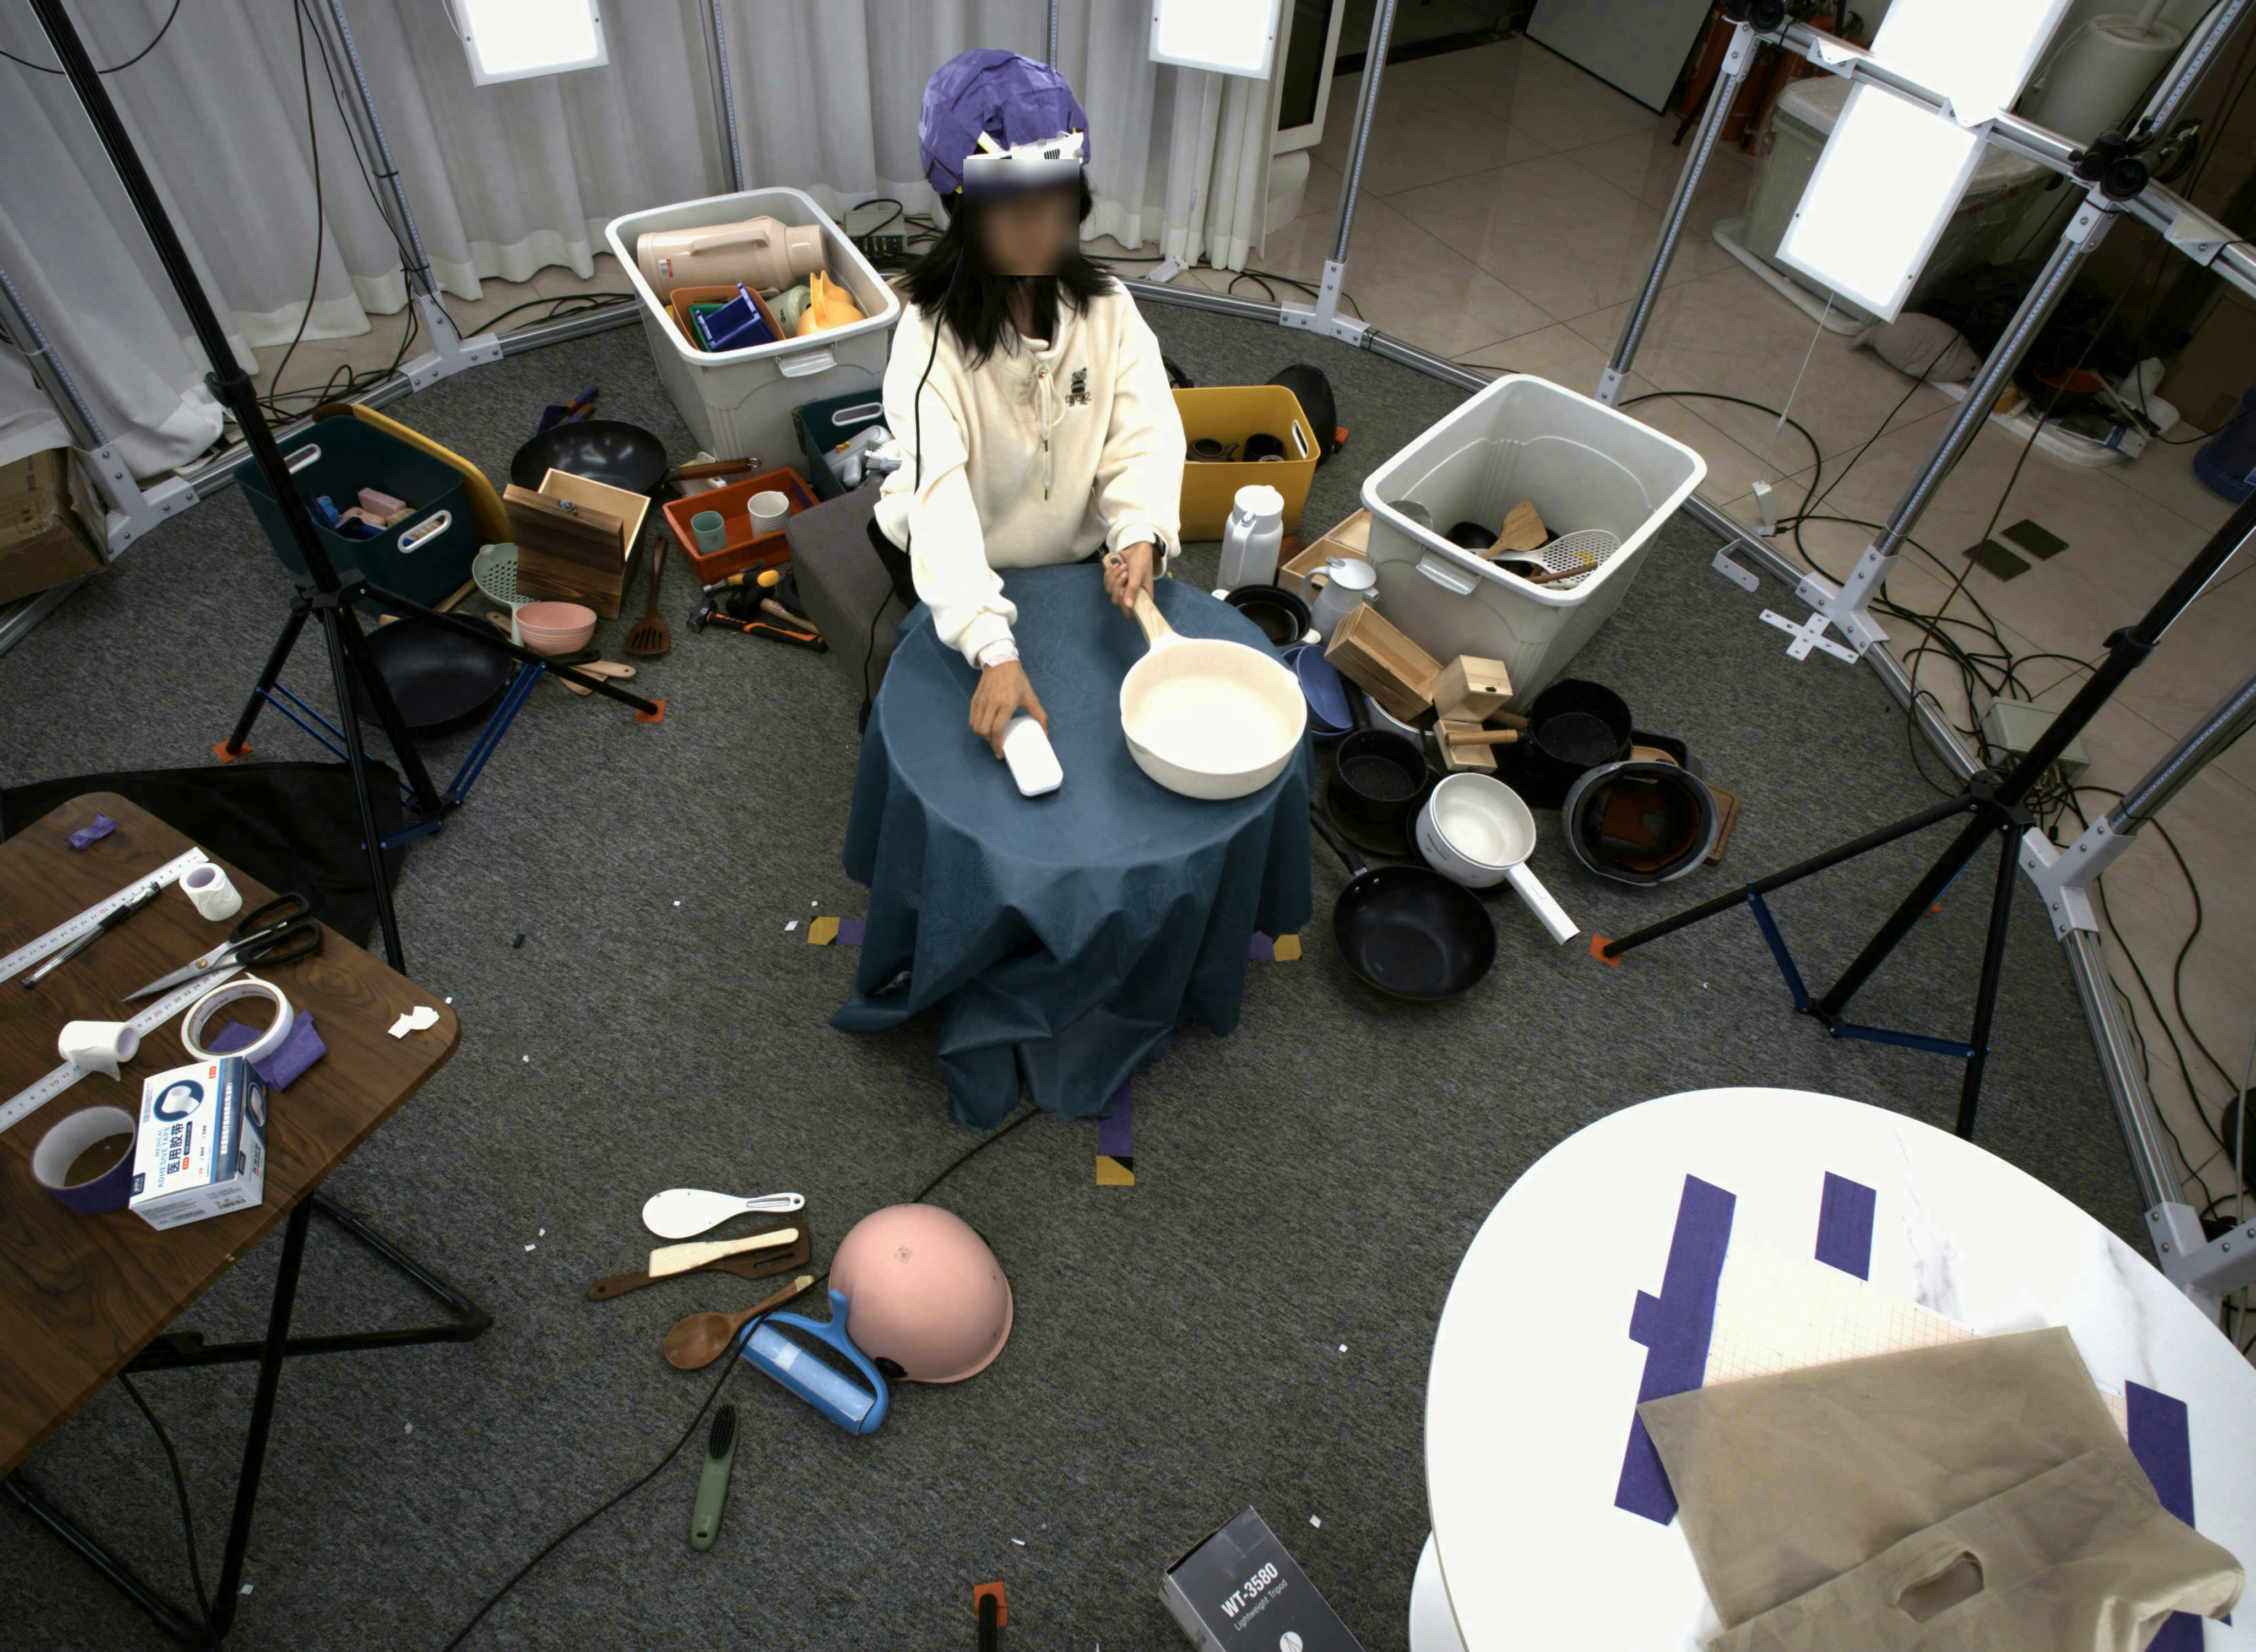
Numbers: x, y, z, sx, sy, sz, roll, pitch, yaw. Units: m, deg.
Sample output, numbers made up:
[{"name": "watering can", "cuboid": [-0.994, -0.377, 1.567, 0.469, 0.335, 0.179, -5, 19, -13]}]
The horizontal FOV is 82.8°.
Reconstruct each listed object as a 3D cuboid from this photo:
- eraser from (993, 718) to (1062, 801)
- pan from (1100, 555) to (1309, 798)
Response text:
[{"name": "eraser", "cuboid": [-0.135, -0.093, 1.721, 0.063, 0.034, 0.134, -13, 52, -17]}, {"name": "pan", "cuboid": [0.073, -0.212, 1.792, 0.264, 0.099, 0.444, -21, 54, -19]}]
